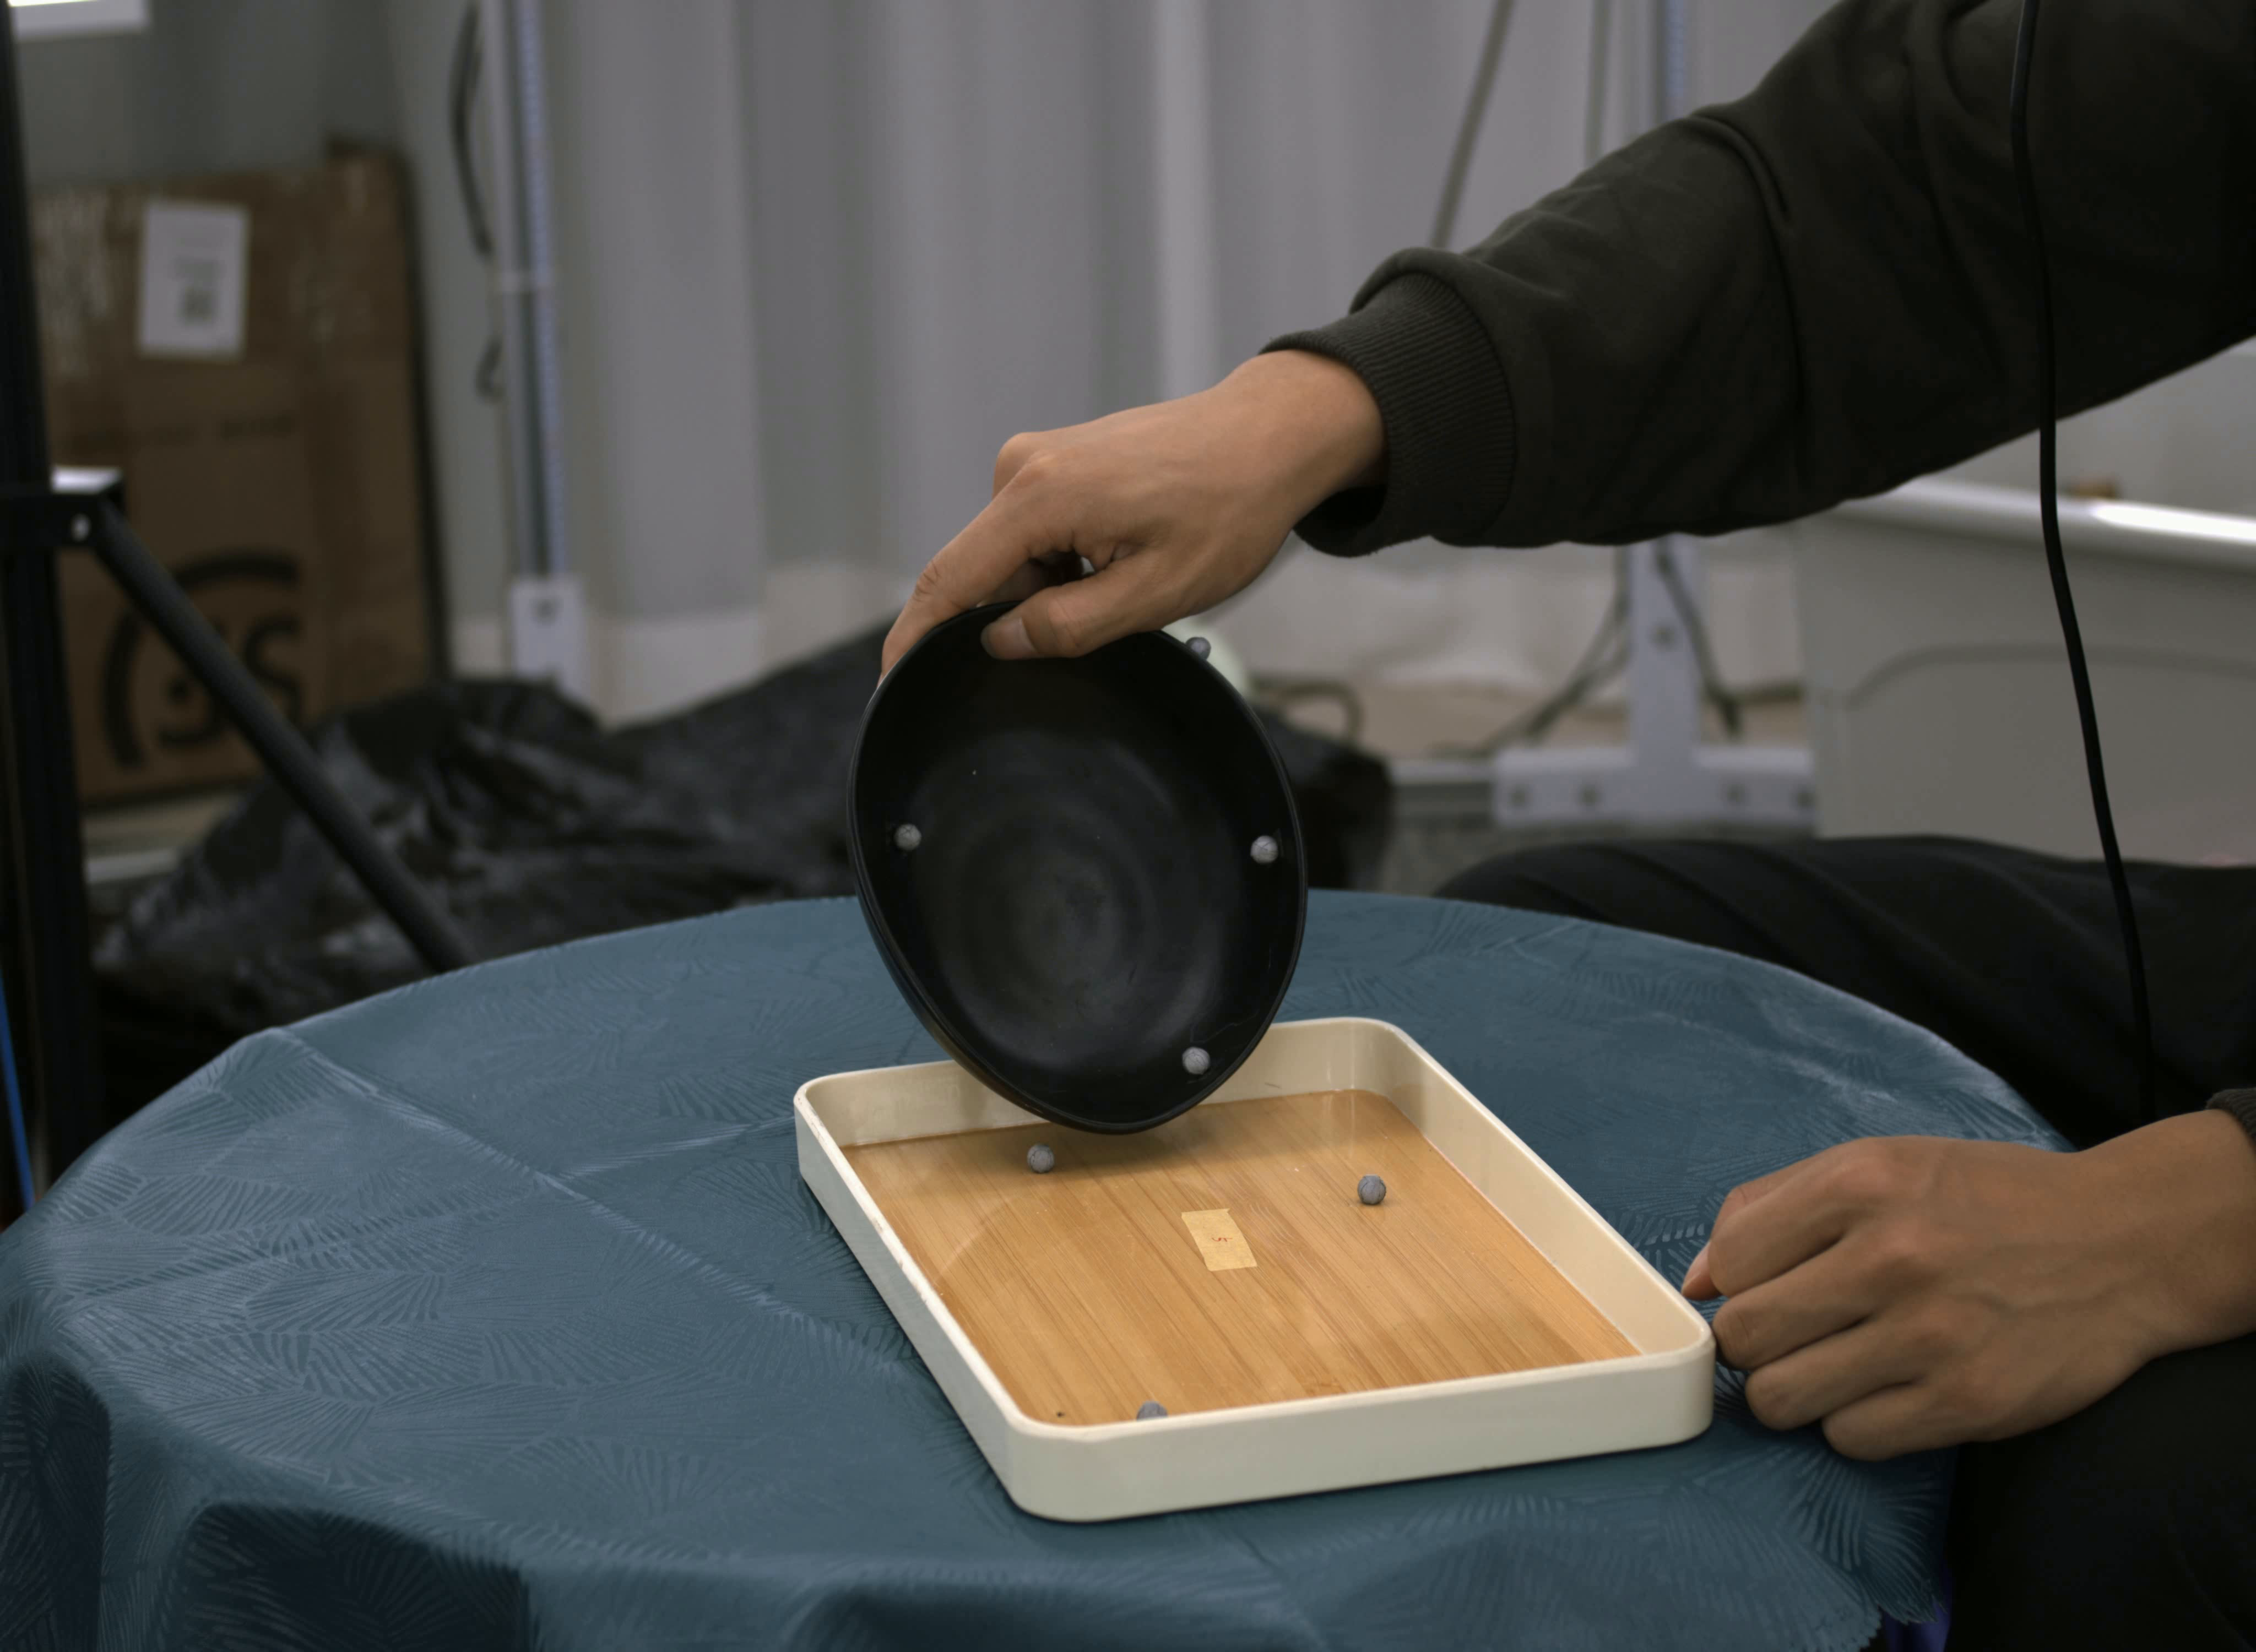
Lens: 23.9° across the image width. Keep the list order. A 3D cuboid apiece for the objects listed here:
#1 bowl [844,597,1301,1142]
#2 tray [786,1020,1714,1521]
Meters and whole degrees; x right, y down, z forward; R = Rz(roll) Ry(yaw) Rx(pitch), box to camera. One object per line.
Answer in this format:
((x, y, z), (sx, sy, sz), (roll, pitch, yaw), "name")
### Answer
((-0.019, 0.018, 1.608), (0.135, 0.172, 0.067), (-12, -20, -13), "bowl")
((0.025, 0.117, 1.476), (0.189, 0.027, 0.304), (-6, 16, -13), "tray")
